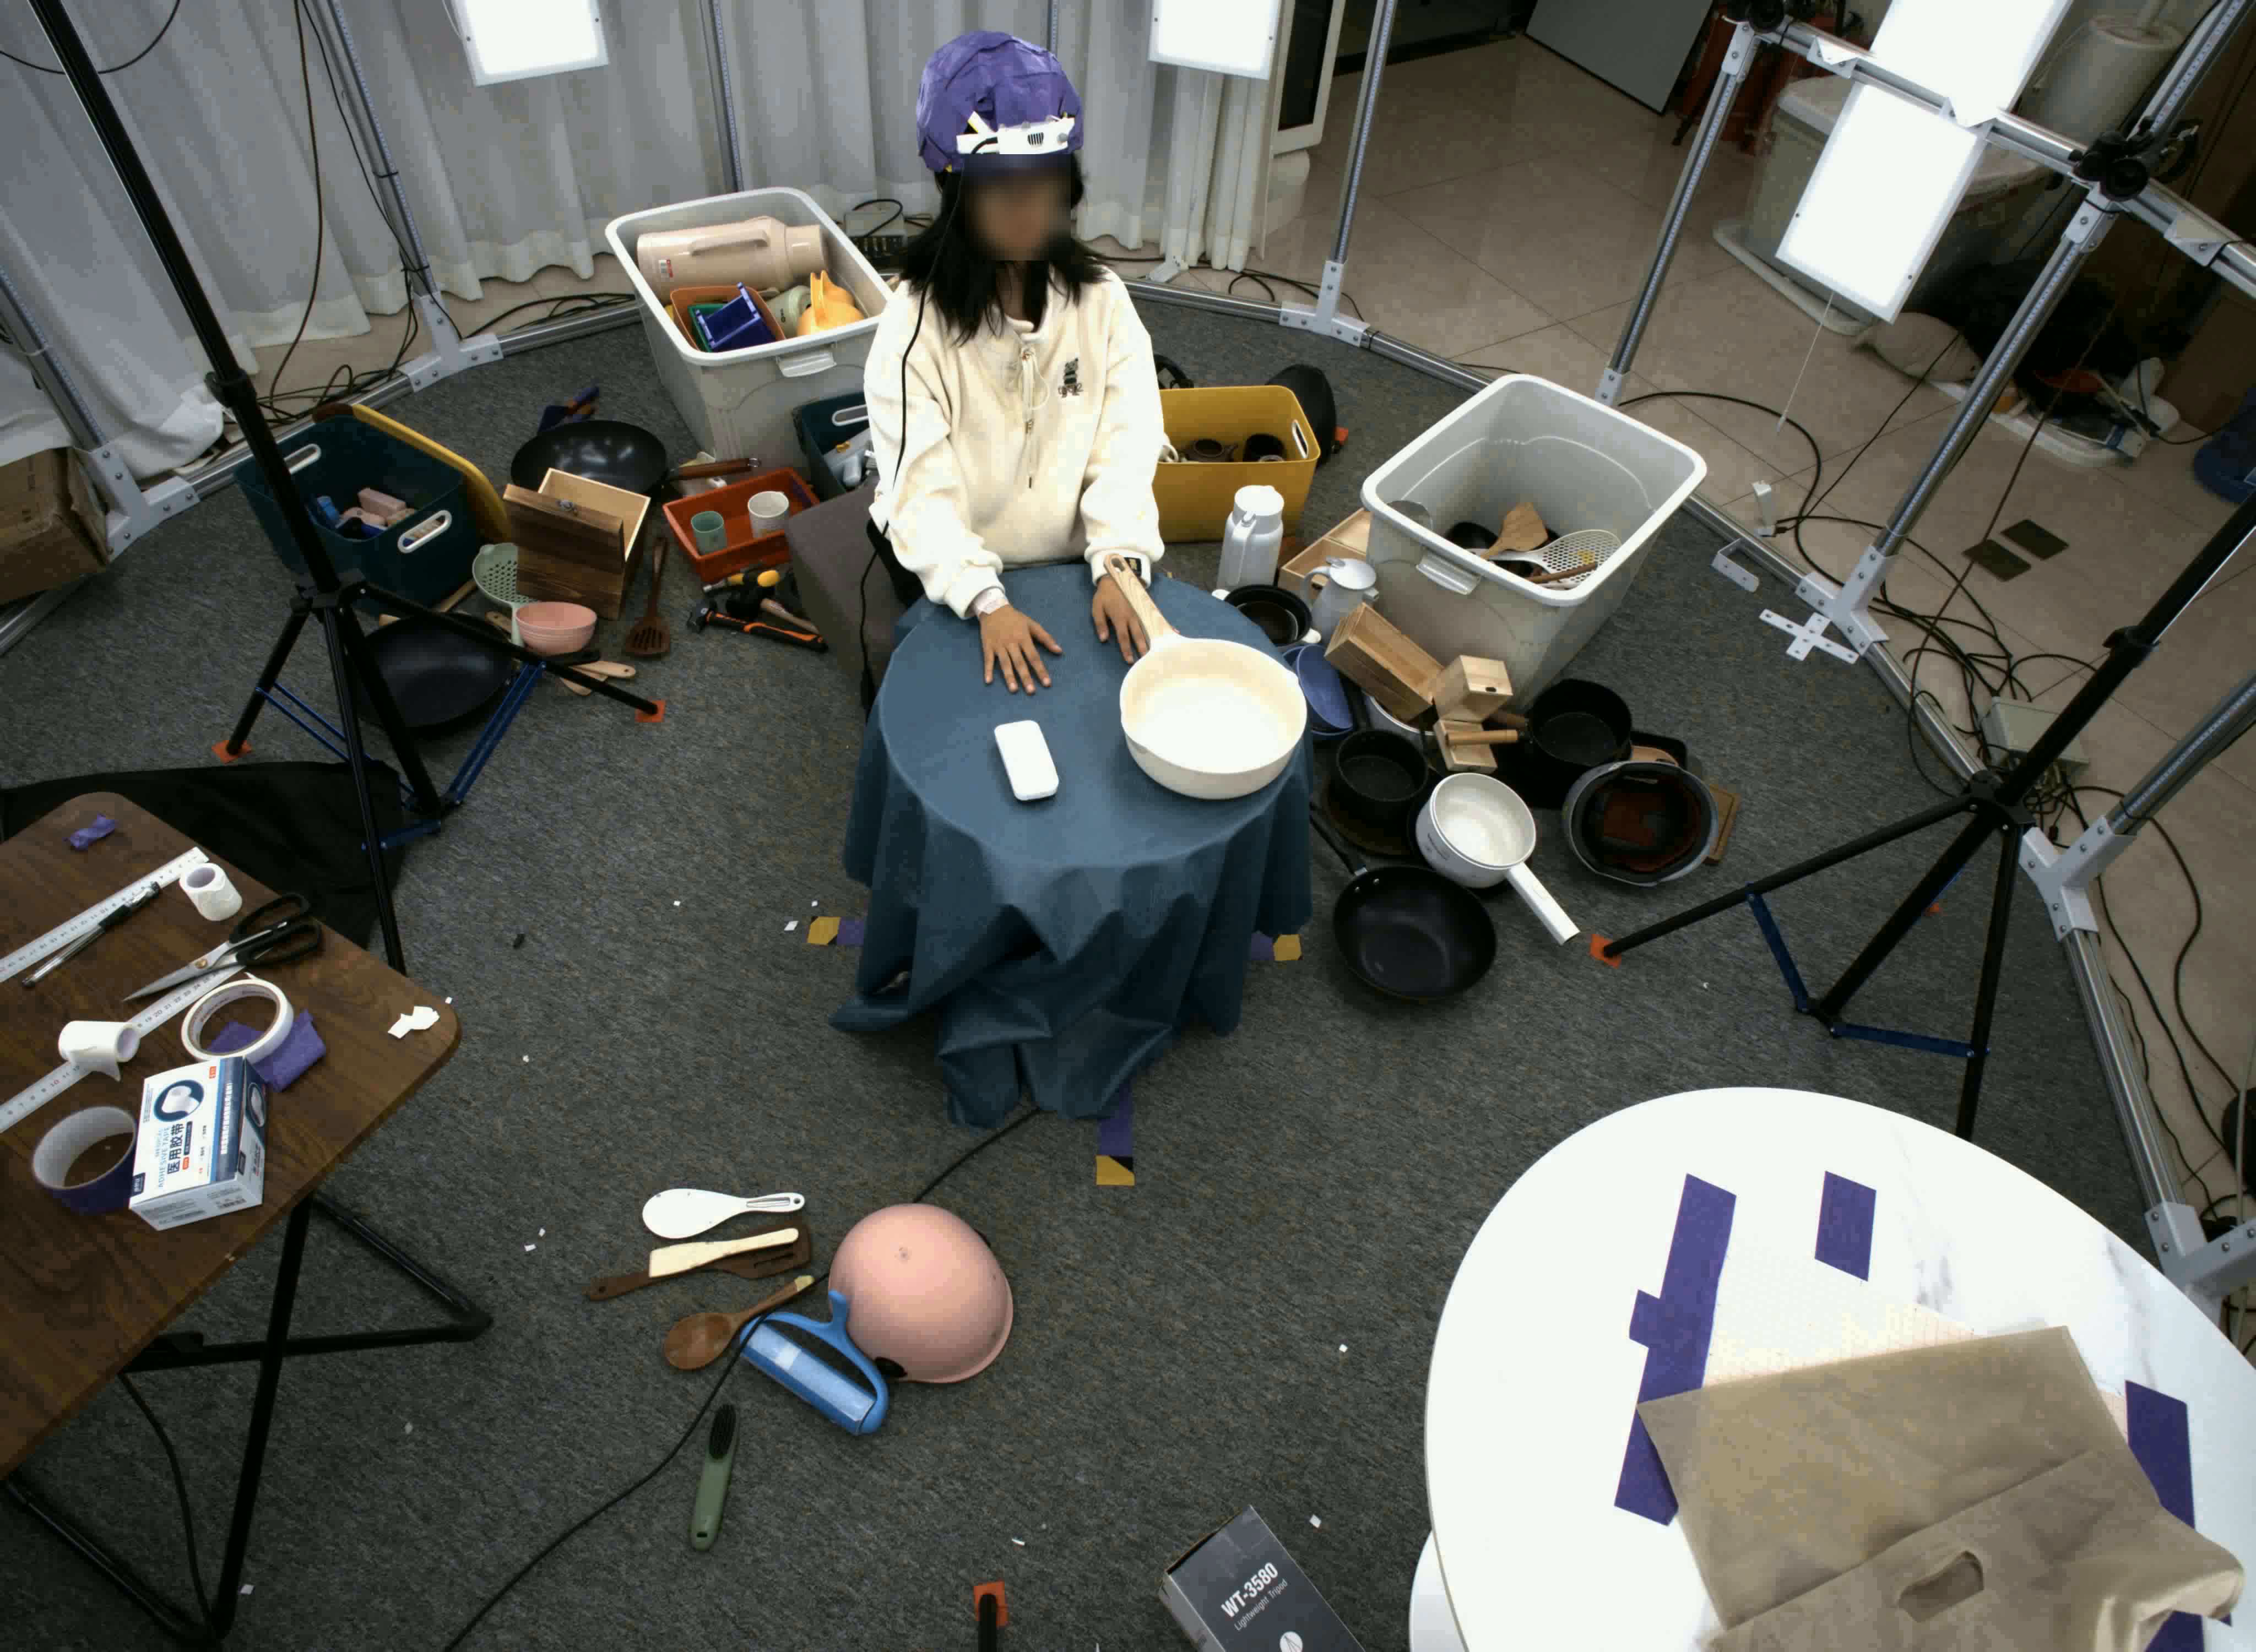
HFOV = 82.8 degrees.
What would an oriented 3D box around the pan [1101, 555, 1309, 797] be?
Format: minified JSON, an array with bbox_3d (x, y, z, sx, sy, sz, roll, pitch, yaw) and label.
[{"bbox_3d":[0.073,-0.212,1.793,0.264,0.099,0.444,-21,54,-19],"label":"pan"}]

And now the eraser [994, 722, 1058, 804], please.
[{"bbox_3d":[-0.136,-0.088,1.718,0.063,0.034,0.134,-9,51,-15],"label":"eraser"}]
